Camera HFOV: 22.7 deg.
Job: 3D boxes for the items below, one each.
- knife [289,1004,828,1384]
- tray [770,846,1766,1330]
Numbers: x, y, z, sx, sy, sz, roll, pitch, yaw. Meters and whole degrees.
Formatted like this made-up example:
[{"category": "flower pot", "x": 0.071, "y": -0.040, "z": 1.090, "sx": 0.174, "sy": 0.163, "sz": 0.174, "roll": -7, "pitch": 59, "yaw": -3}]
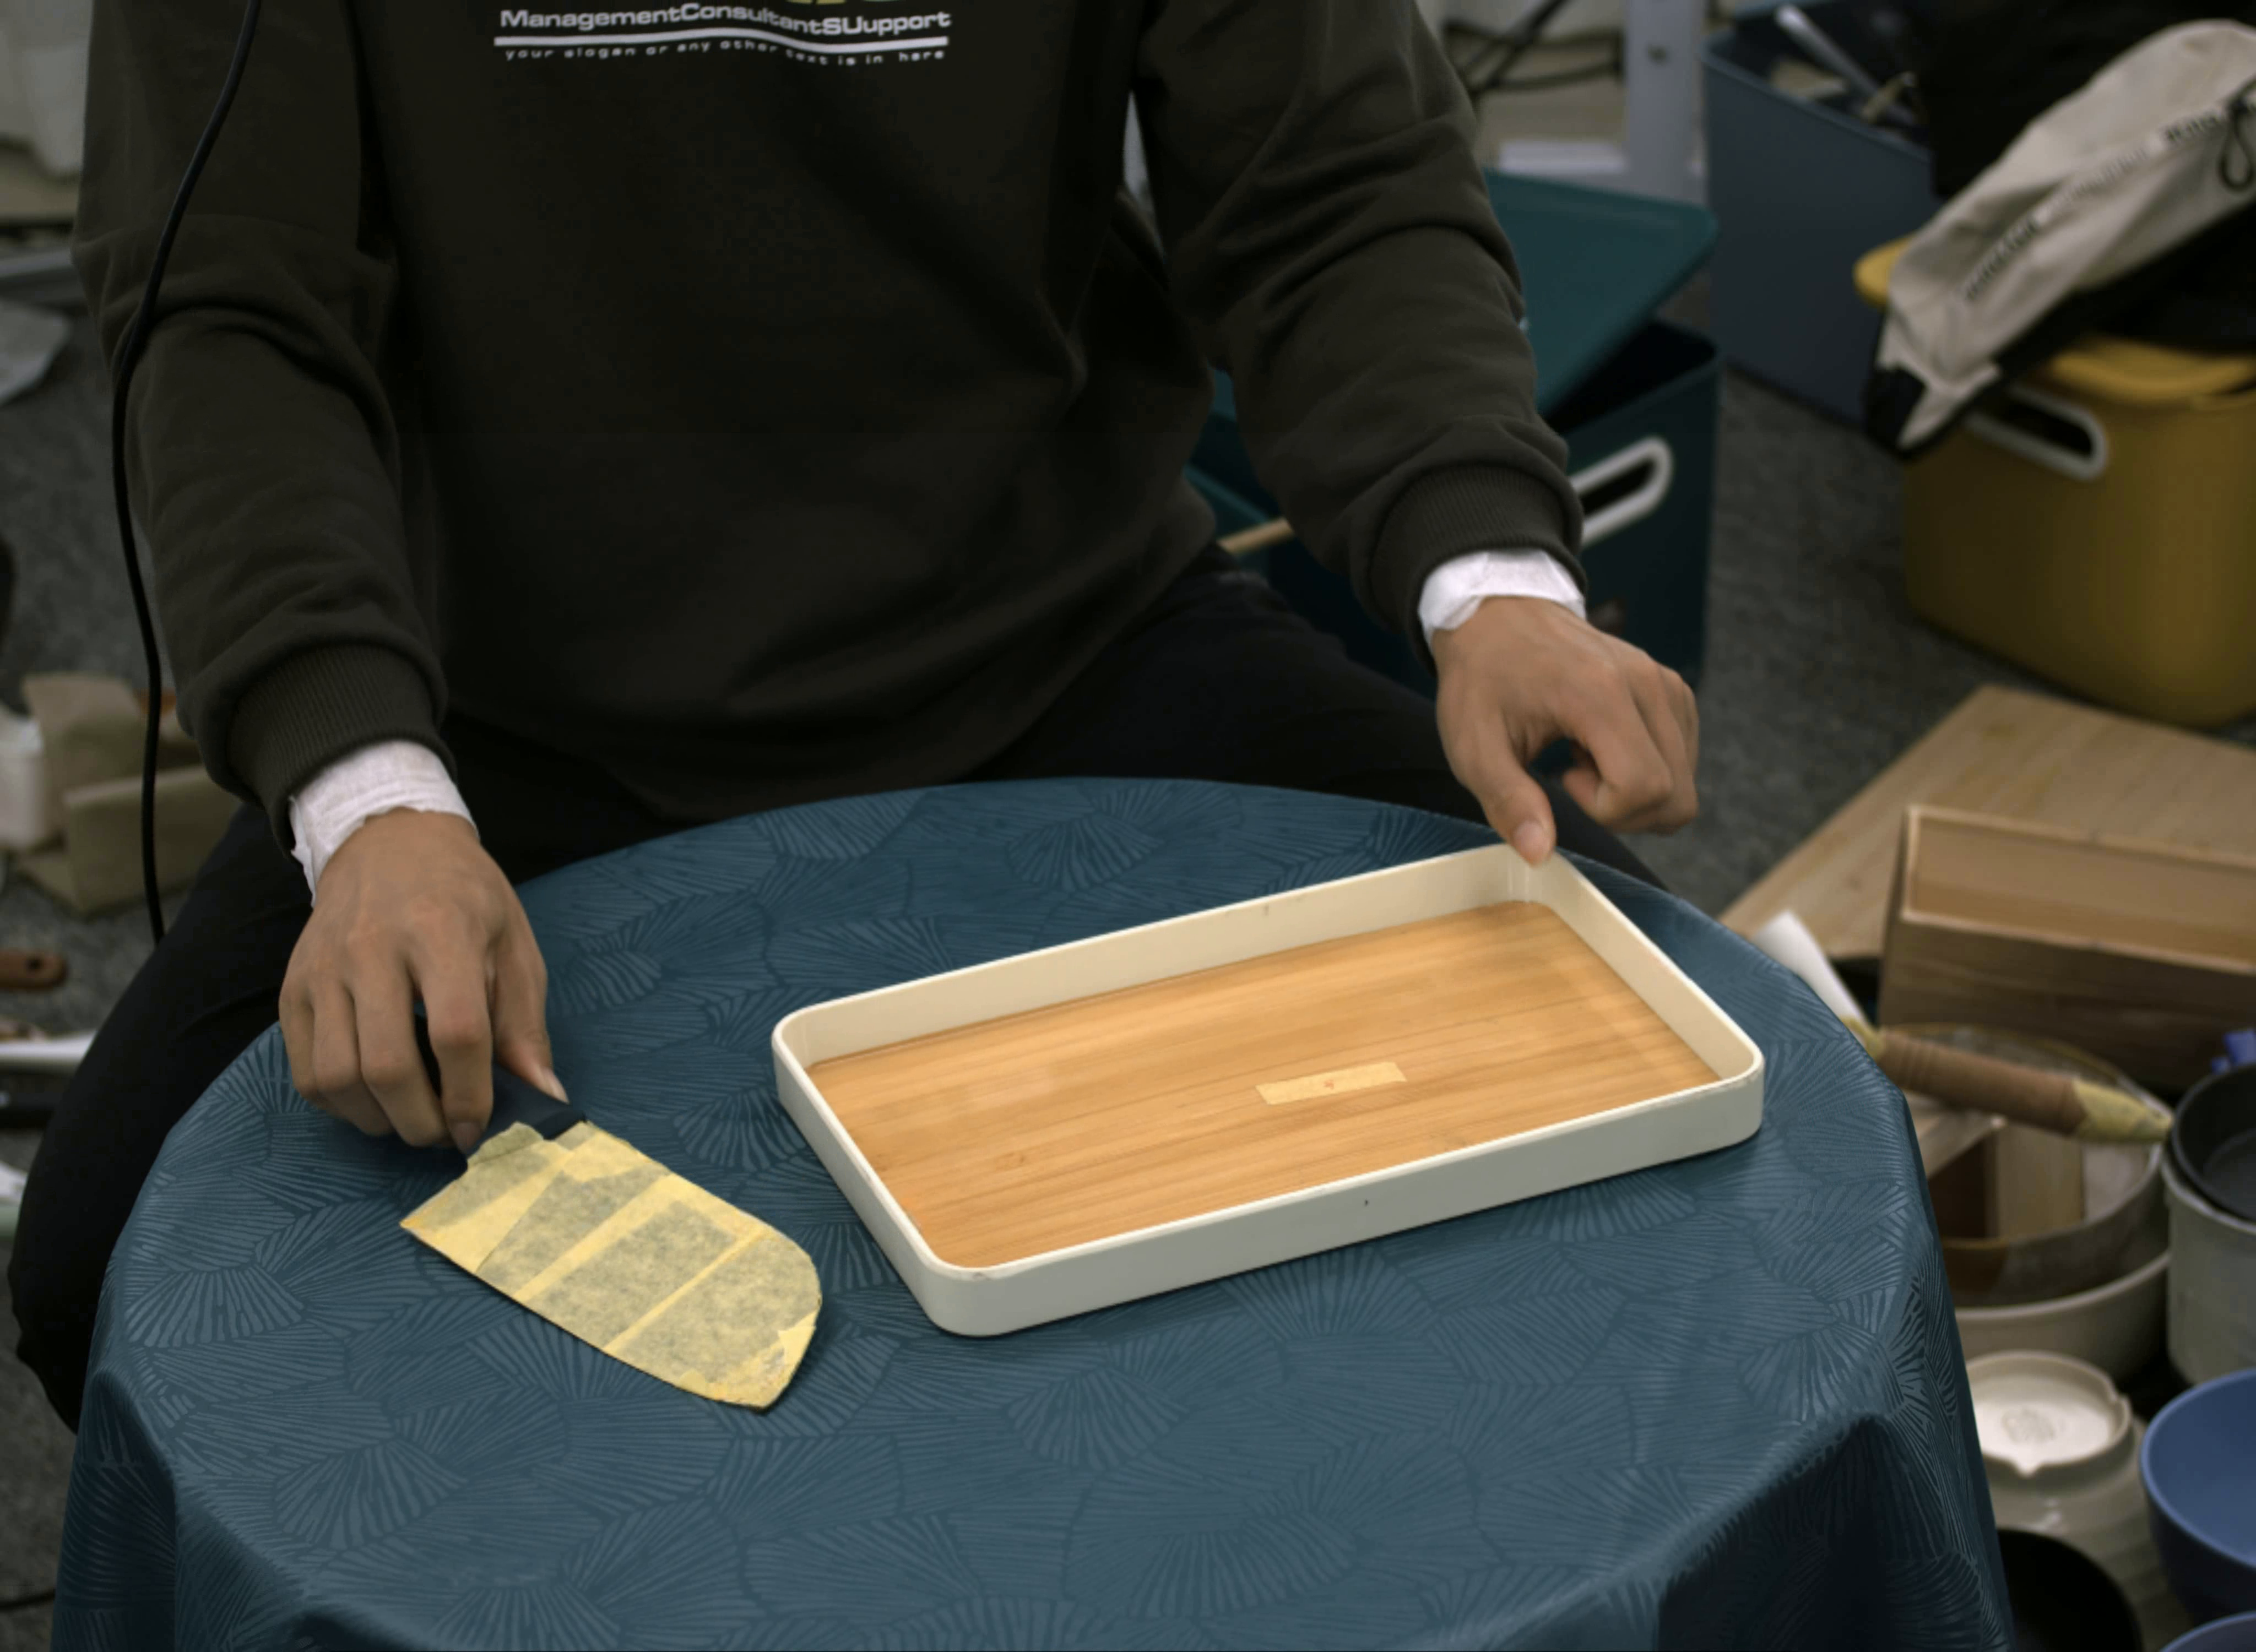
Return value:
[{"category": "knife", "x": -0.198, "y": 0.122, "z": 1.857, "sx": 0.082, "sy": 0.027, "sz": 0.289, "roll": -32, "pitch": 39, "yaw": -29}, {"category": "tray", "x": 0.045, "y": 0.084, "z": 1.900, "sx": 0.301, "sy": 0.027, "sz": 0.193, "roll": -12, "pitch": 28, "yaw": -19}]
